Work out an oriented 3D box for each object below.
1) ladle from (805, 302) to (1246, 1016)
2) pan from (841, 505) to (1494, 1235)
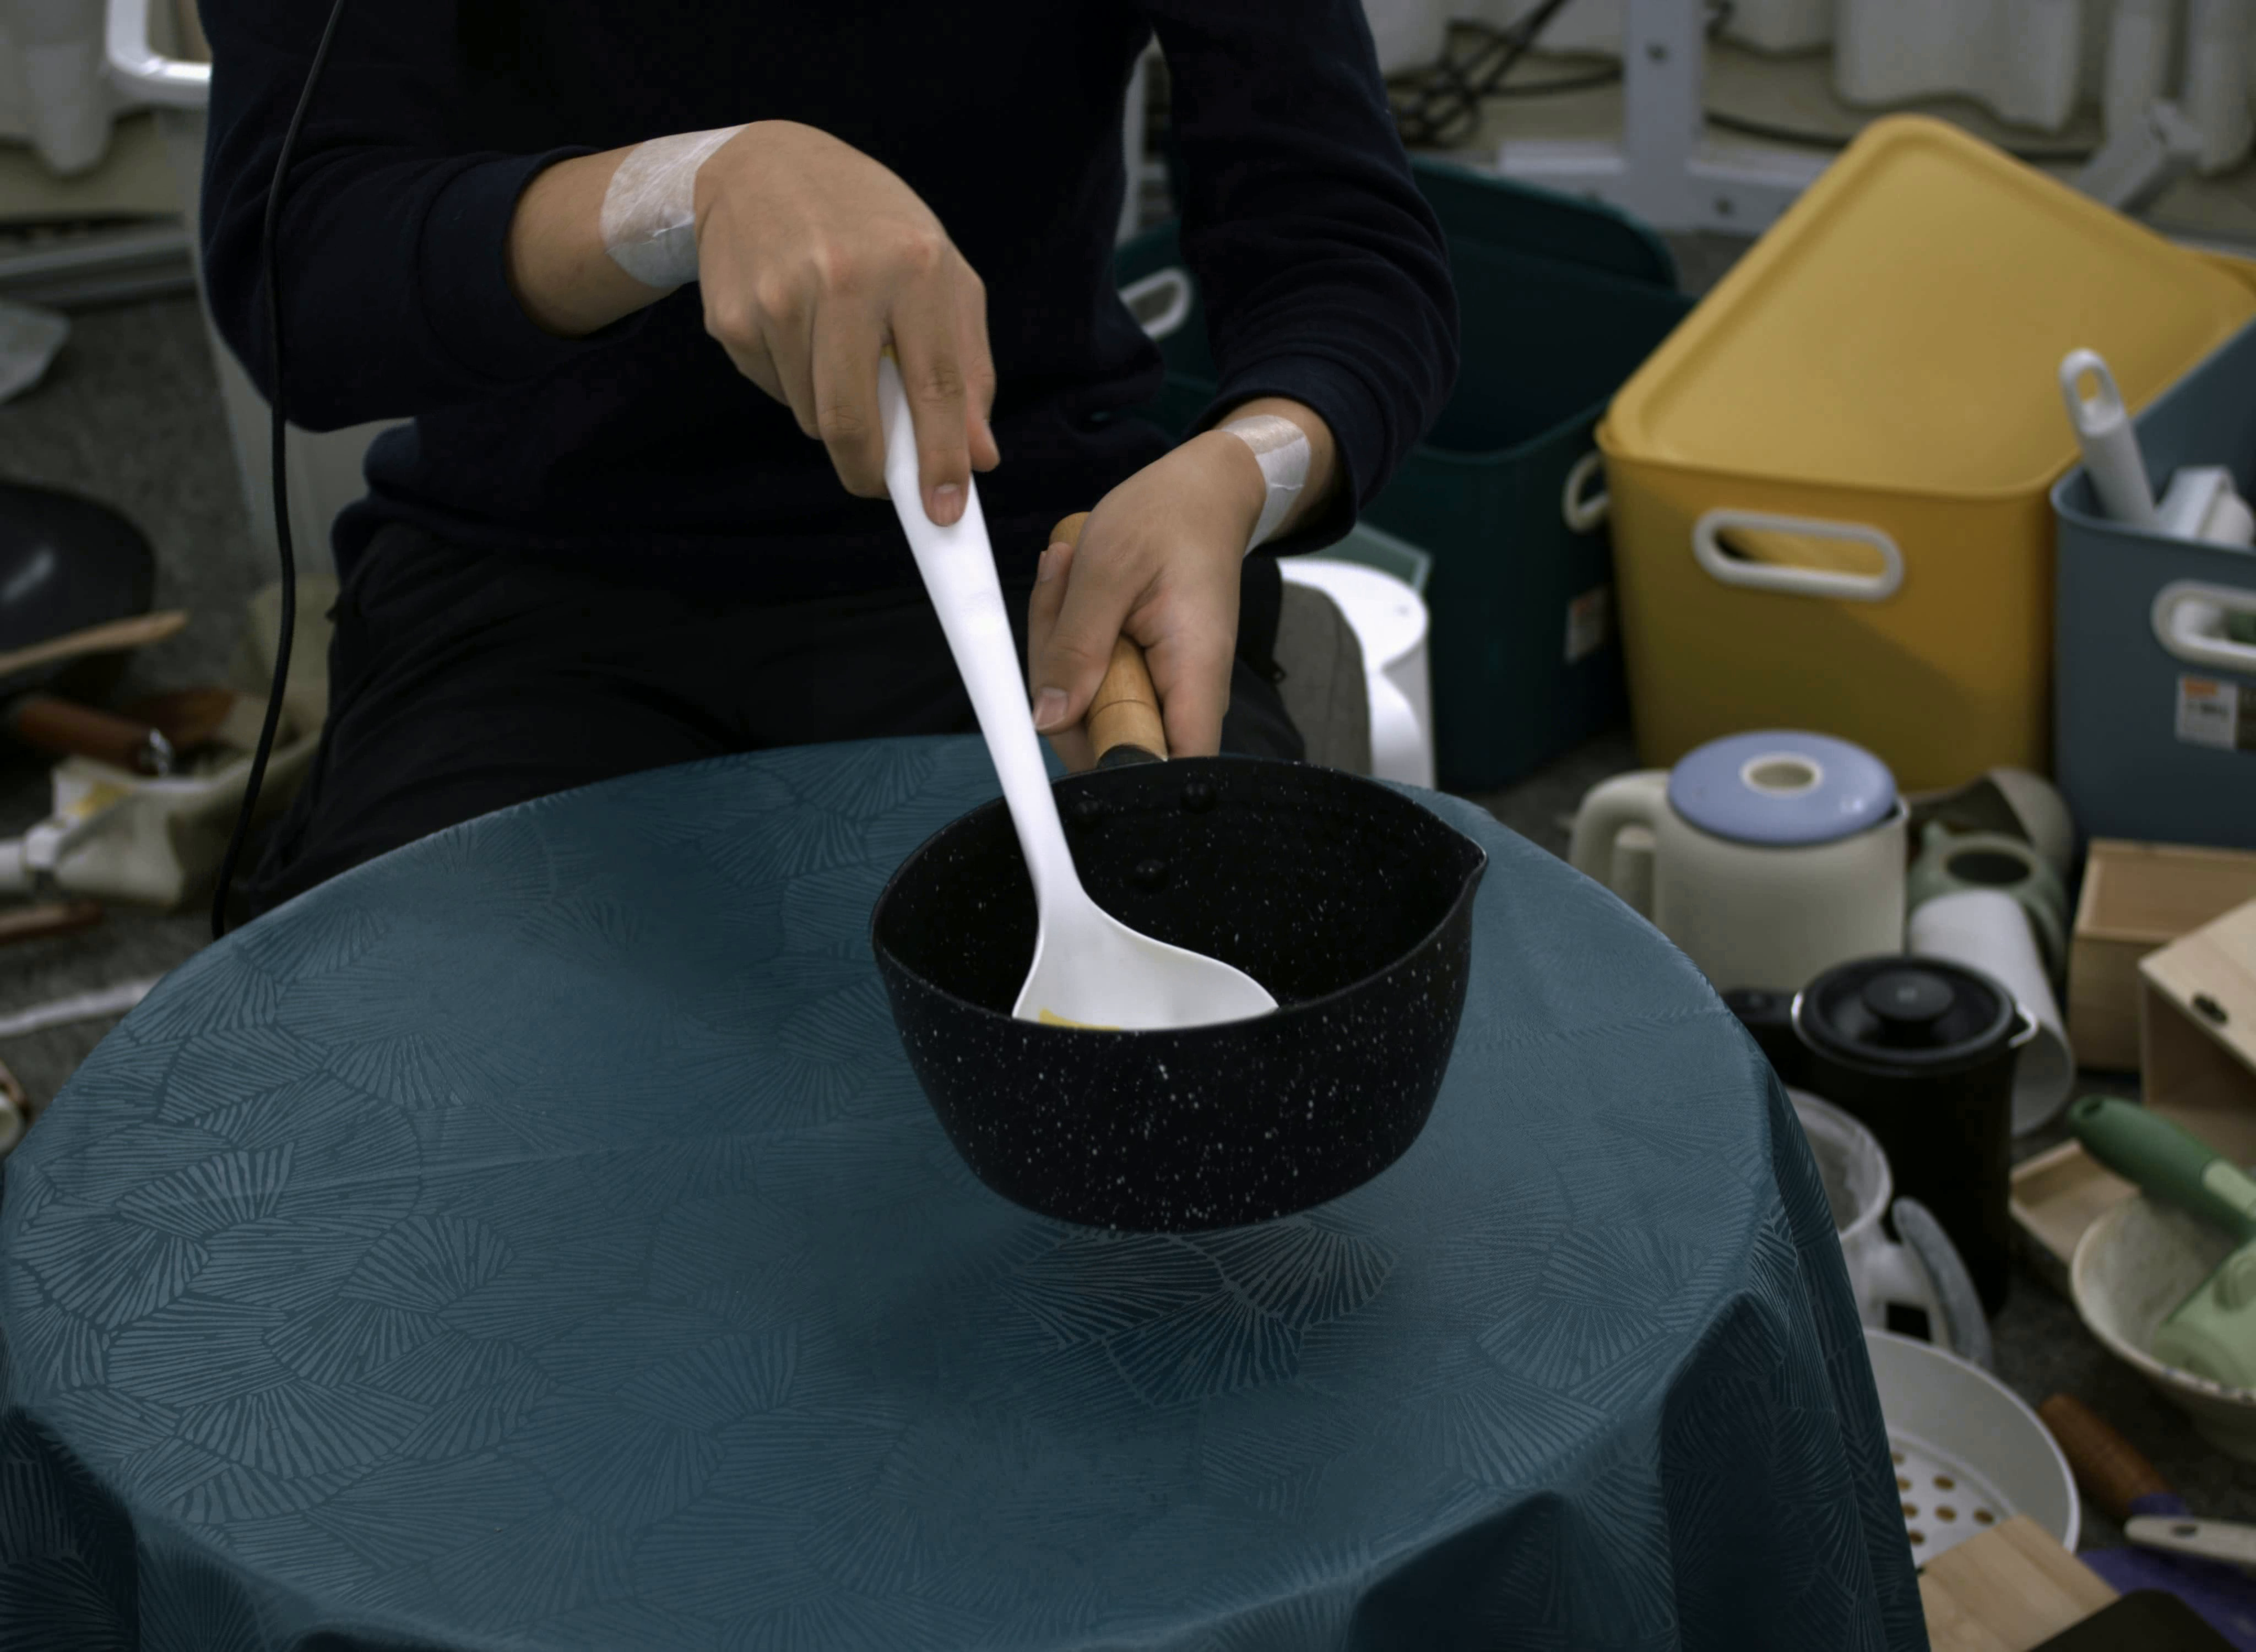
[{"bbox_3d":[-0.042,-0.039,1.814,0.090,0.296,0.069,-14,-14,-17],"label":"ladle"},{"bbox_3d":[0.006,0.010,1.847,0.207,0.107,0.347,-8,27,-4],"label":"pan"}]
